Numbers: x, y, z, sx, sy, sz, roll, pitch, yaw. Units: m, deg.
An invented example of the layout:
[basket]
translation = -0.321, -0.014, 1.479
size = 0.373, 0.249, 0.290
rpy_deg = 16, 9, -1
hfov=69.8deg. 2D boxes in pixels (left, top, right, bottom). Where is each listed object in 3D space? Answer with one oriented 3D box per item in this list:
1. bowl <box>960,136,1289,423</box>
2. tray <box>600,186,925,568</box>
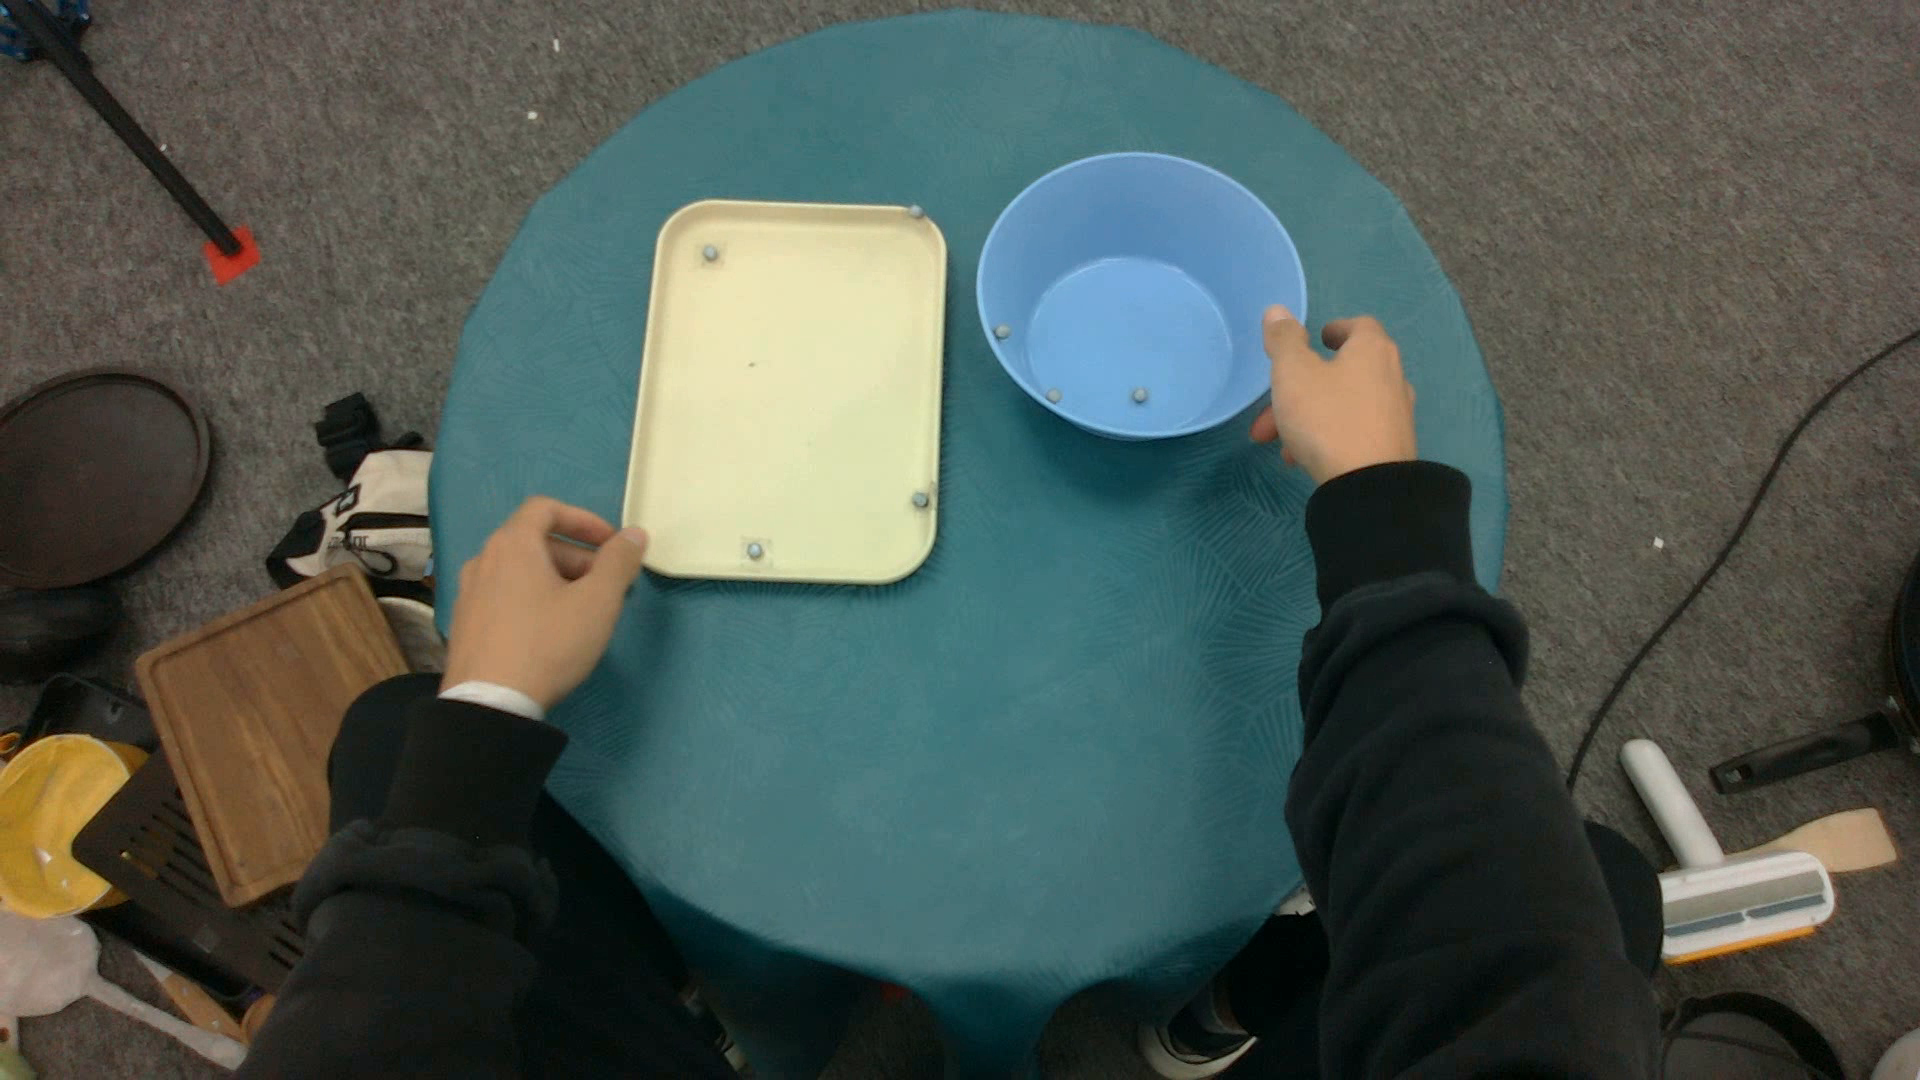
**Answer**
[bowl]
translation = 0.088, -0.132, 0.766
size = 0.176, 0.070, 0.176
rpy_deg = 0, 68, 0
[tray]
translation = -0.107, -0.096, 0.777
size = 0.171, 0.017, 0.240
rpy_deg = 1, 68, 1
